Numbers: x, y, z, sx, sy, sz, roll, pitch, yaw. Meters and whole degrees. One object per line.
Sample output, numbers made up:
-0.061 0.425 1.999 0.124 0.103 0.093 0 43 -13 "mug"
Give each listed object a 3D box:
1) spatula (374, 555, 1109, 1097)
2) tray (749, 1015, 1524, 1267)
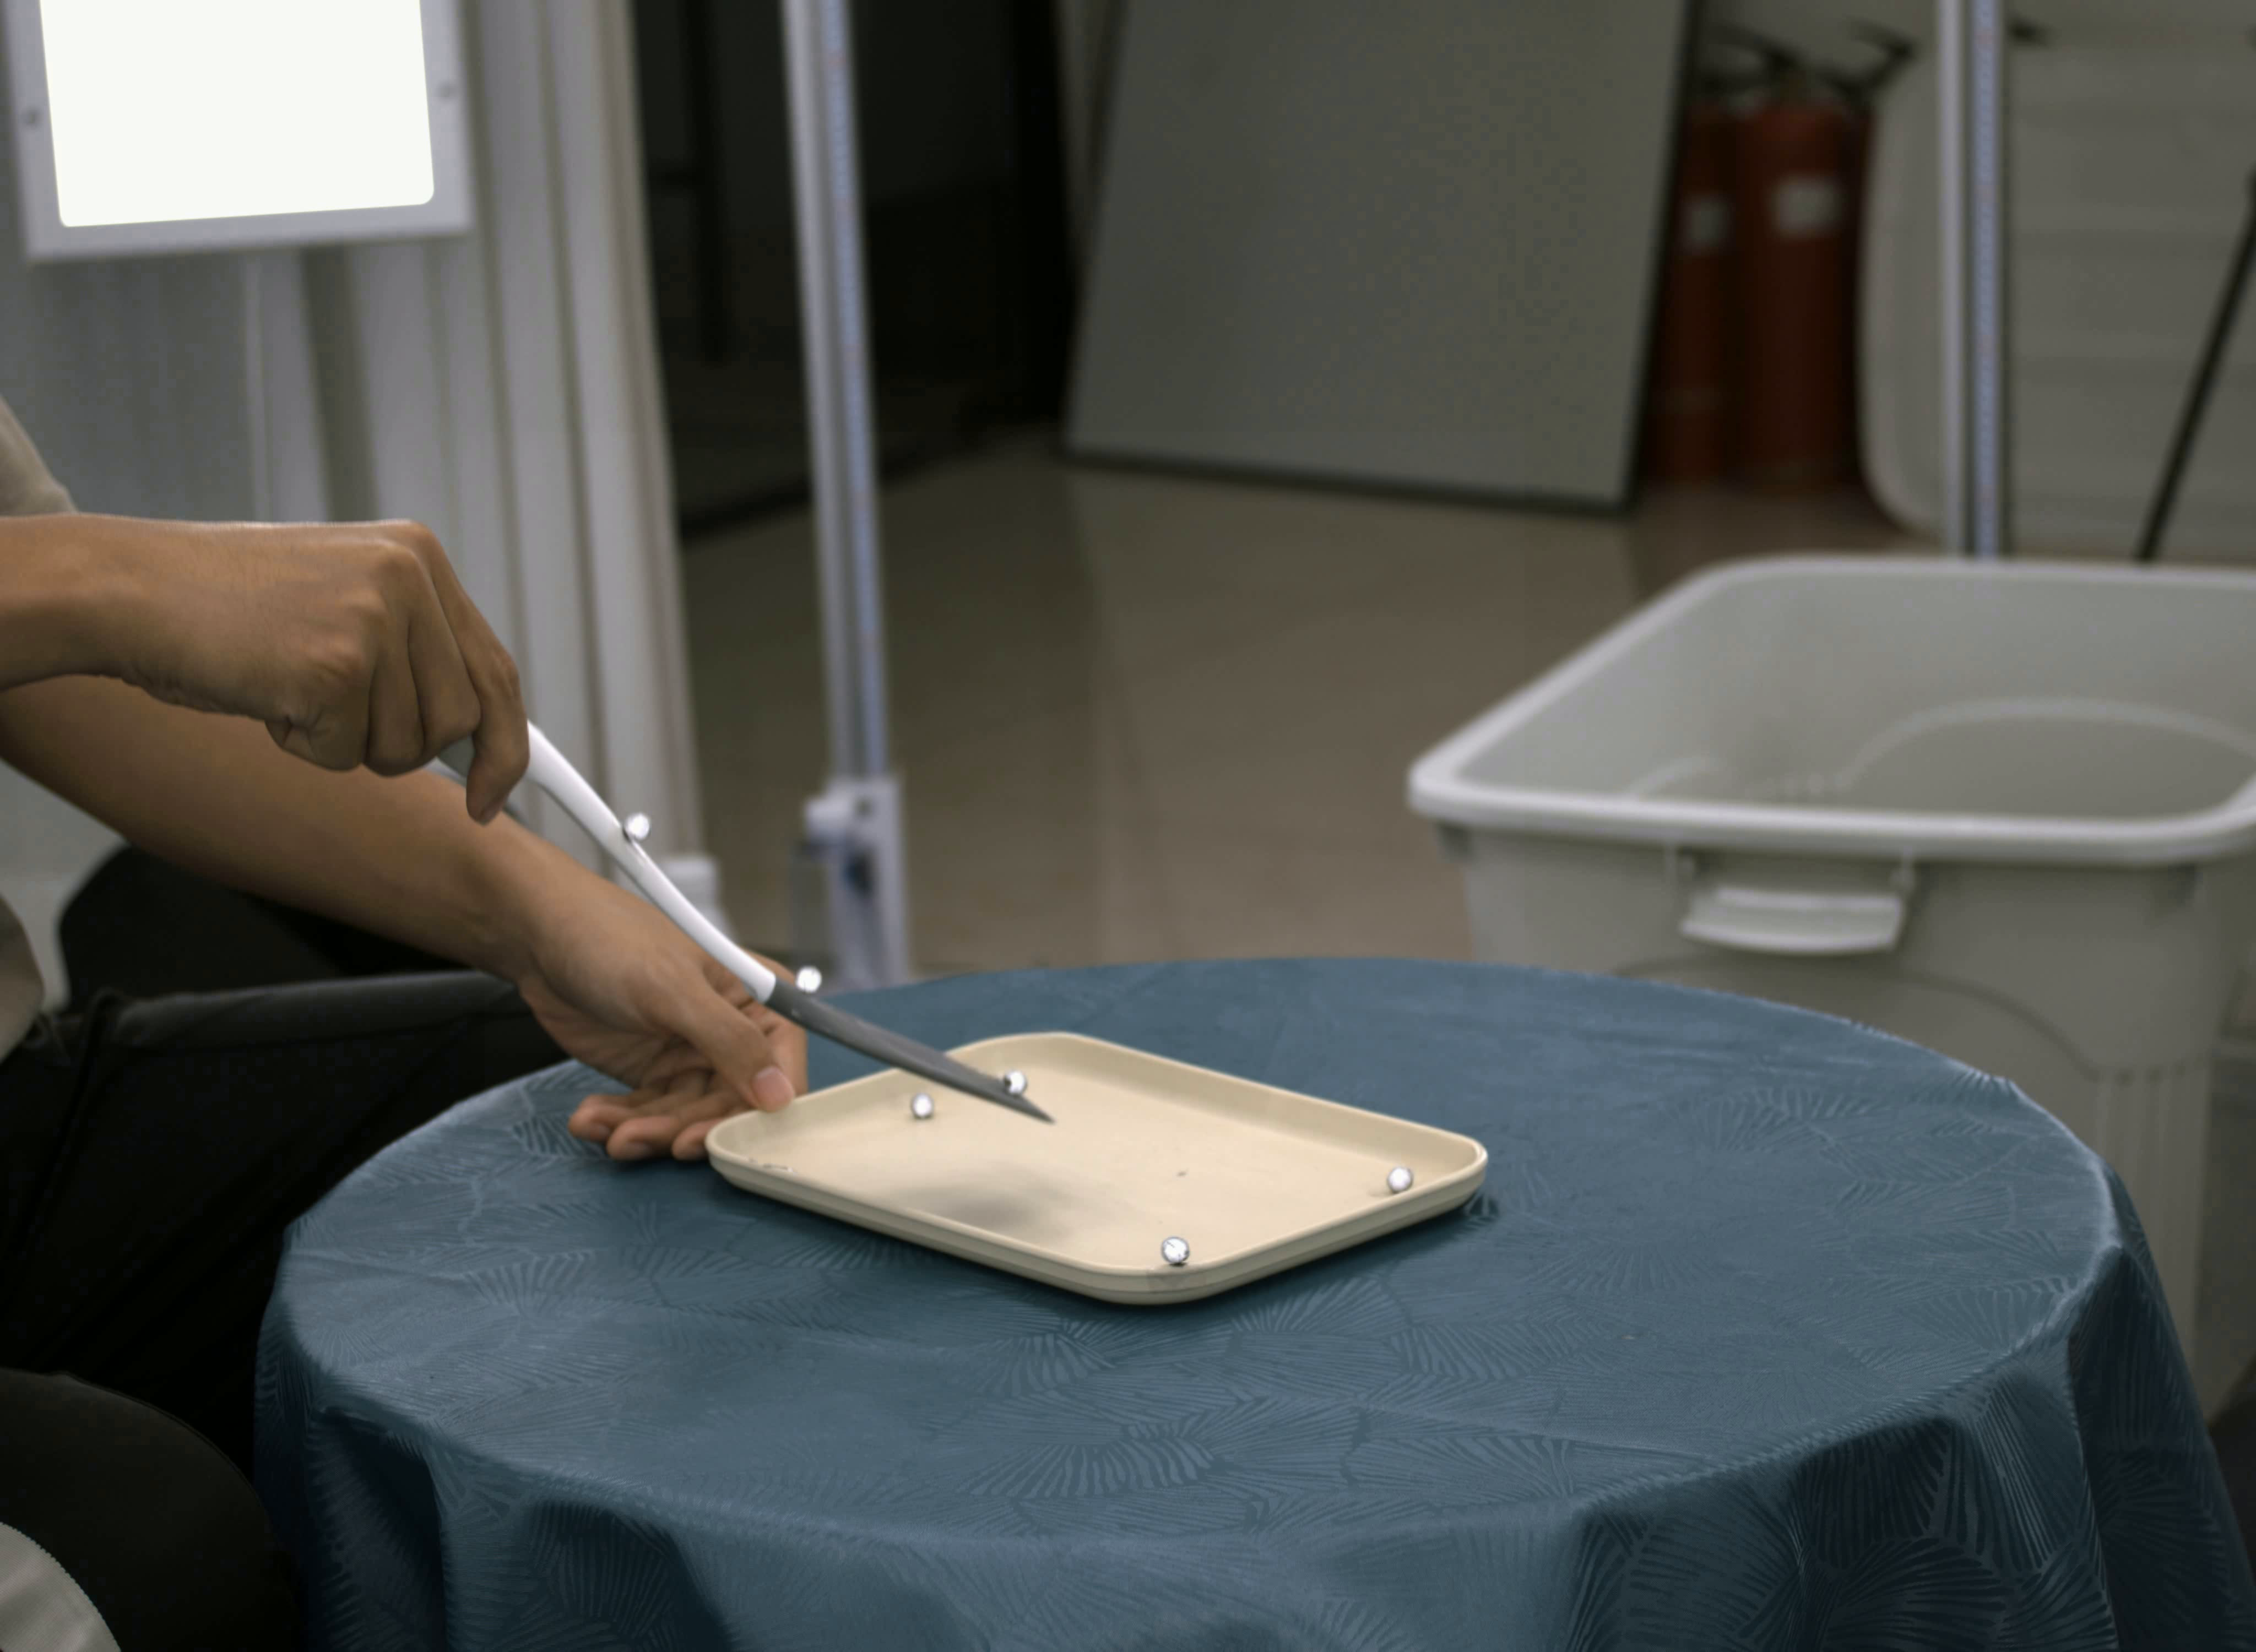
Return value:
-0.119 0.010 1.702 0.284 0.032 0.059 39 -8 -26 "spatula"
0.001 0.103 1.784 0.167 0.018 0.242 -14 17 -40 "tray"
